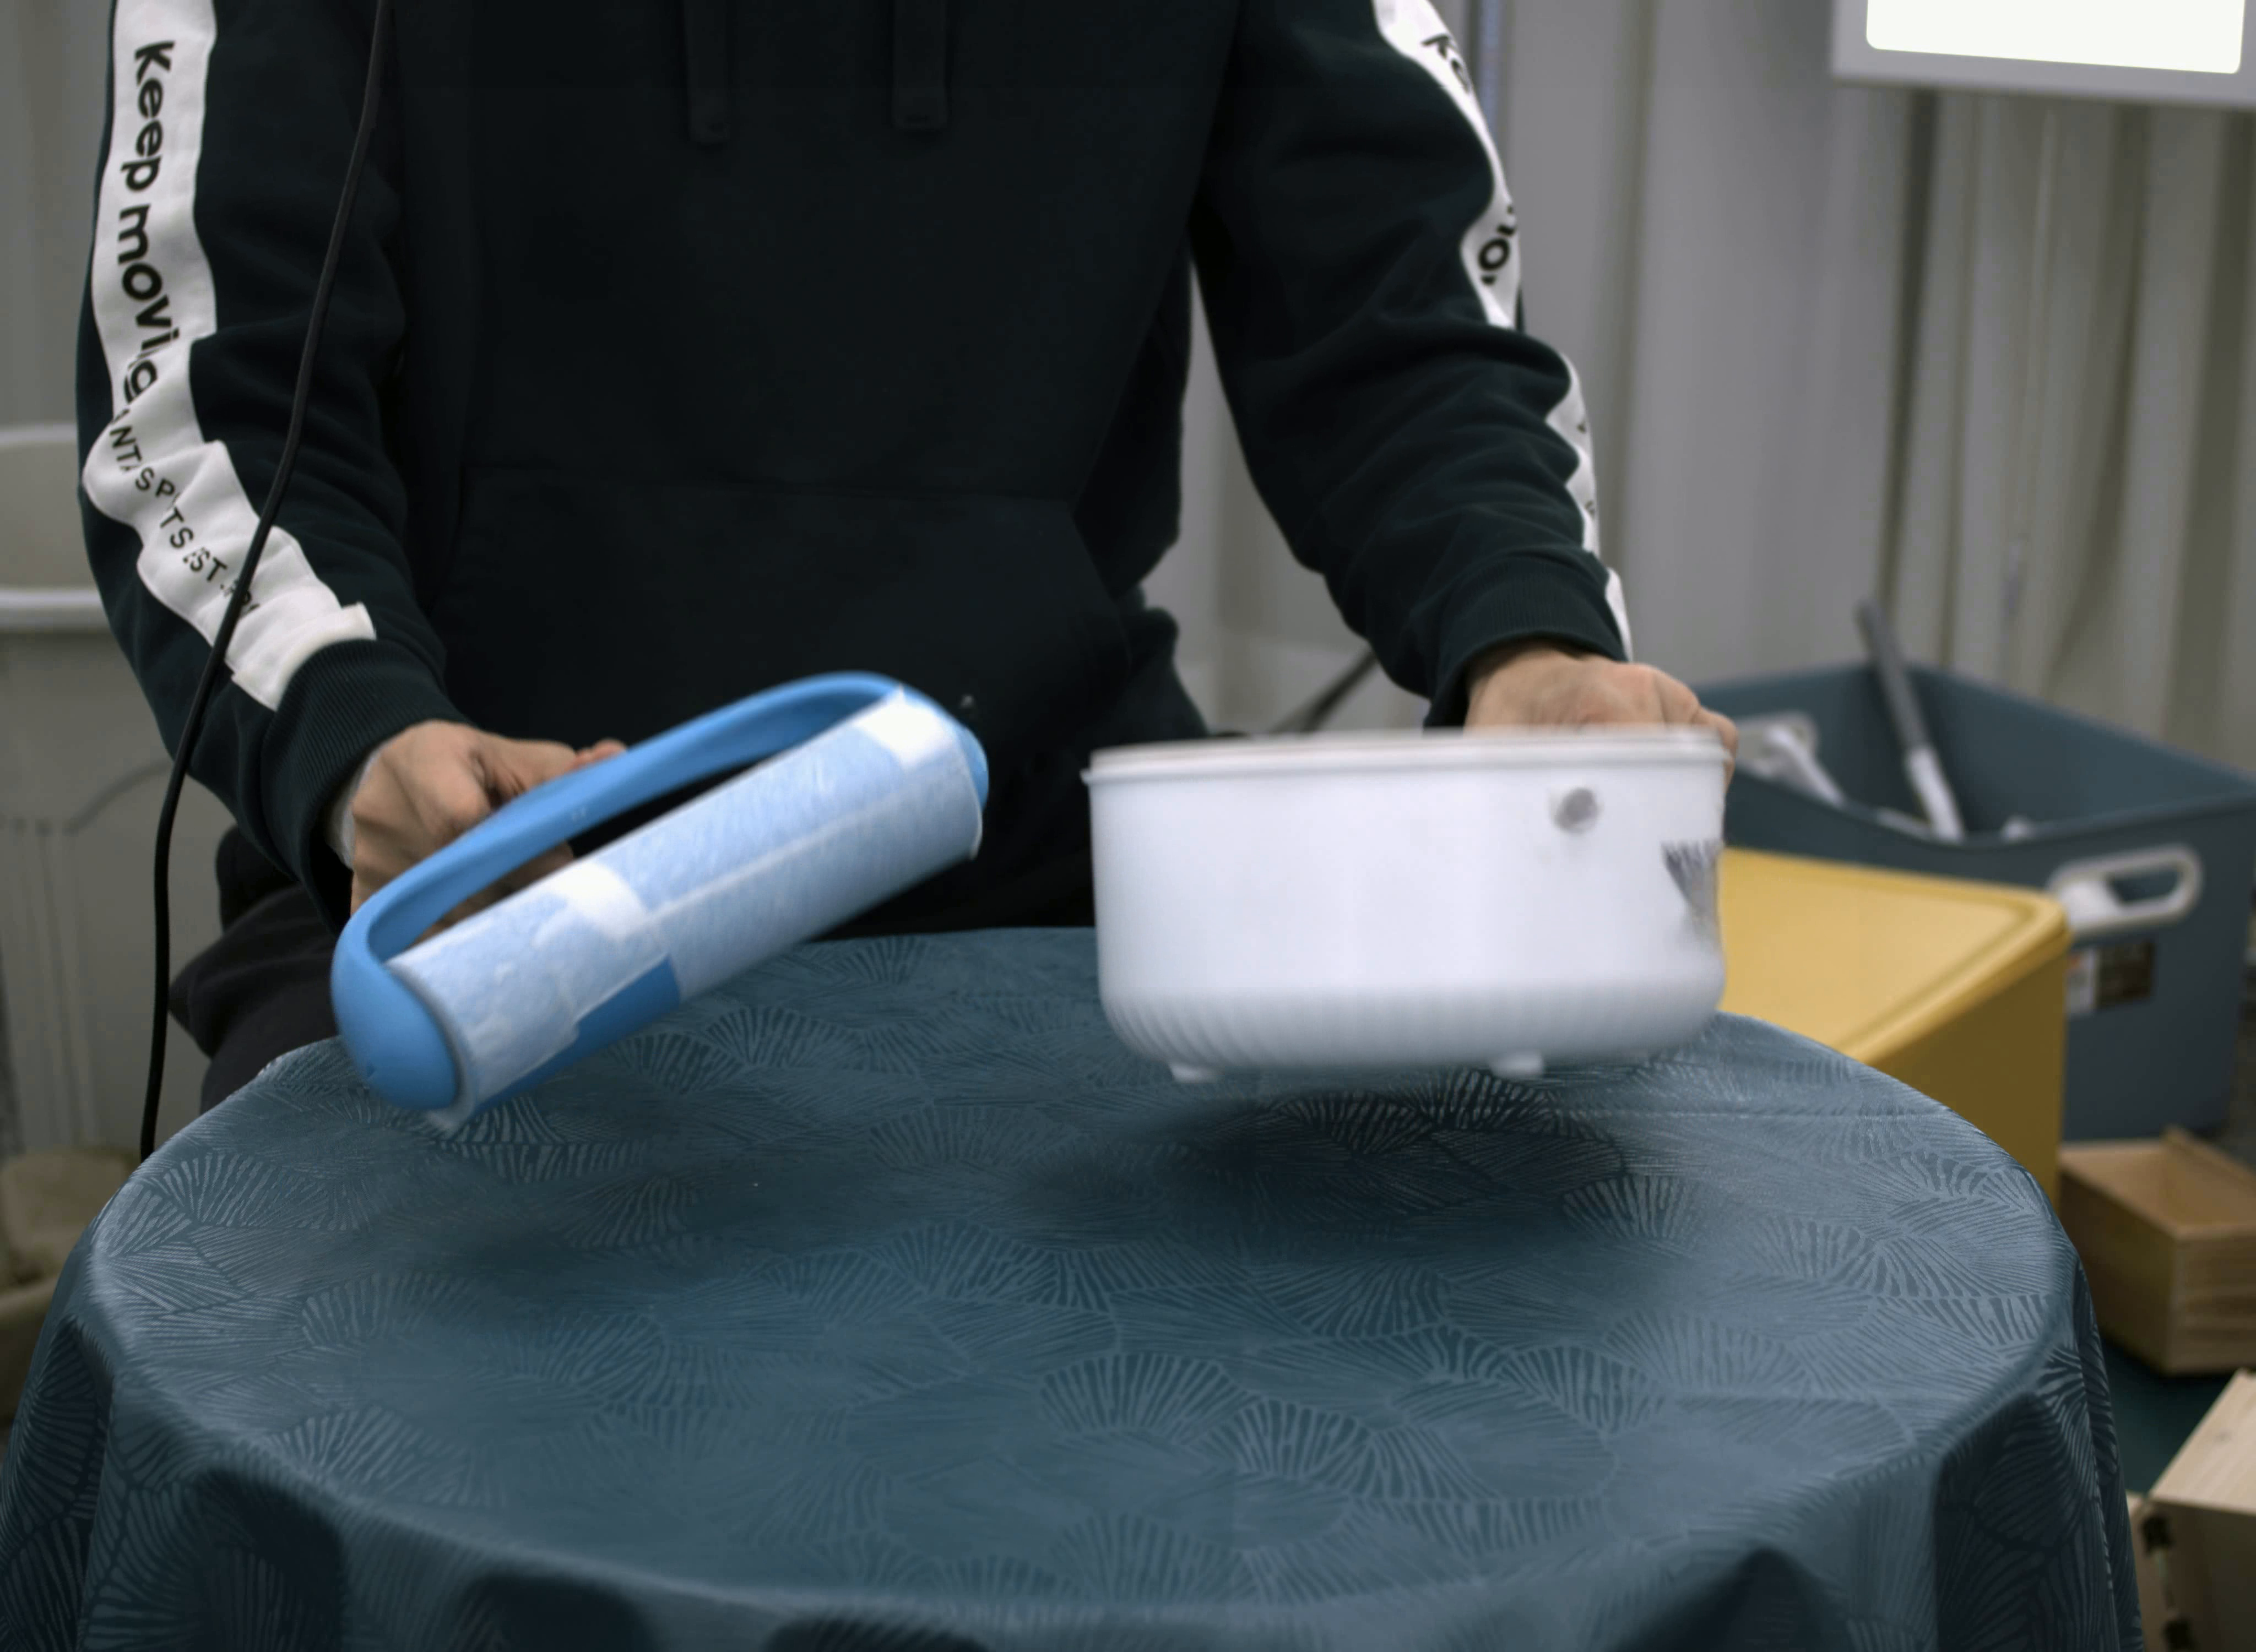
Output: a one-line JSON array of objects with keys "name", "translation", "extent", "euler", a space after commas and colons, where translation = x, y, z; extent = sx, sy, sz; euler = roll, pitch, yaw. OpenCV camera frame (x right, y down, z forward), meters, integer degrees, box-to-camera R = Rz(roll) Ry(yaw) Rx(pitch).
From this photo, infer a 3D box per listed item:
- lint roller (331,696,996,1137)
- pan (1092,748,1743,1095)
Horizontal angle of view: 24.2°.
[{"name": "lint roller", "translation": [-0.170, 0.023, 1.620], "extent": [0.229, 0.068, 0.178], "euler": [-30, 23, -33]}, {"name": "pan", "translation": [0.120, 0.030, 1.693], "extent": [0.199, 0.102, 0.357], "euler": [-2, -1, 23]}]
